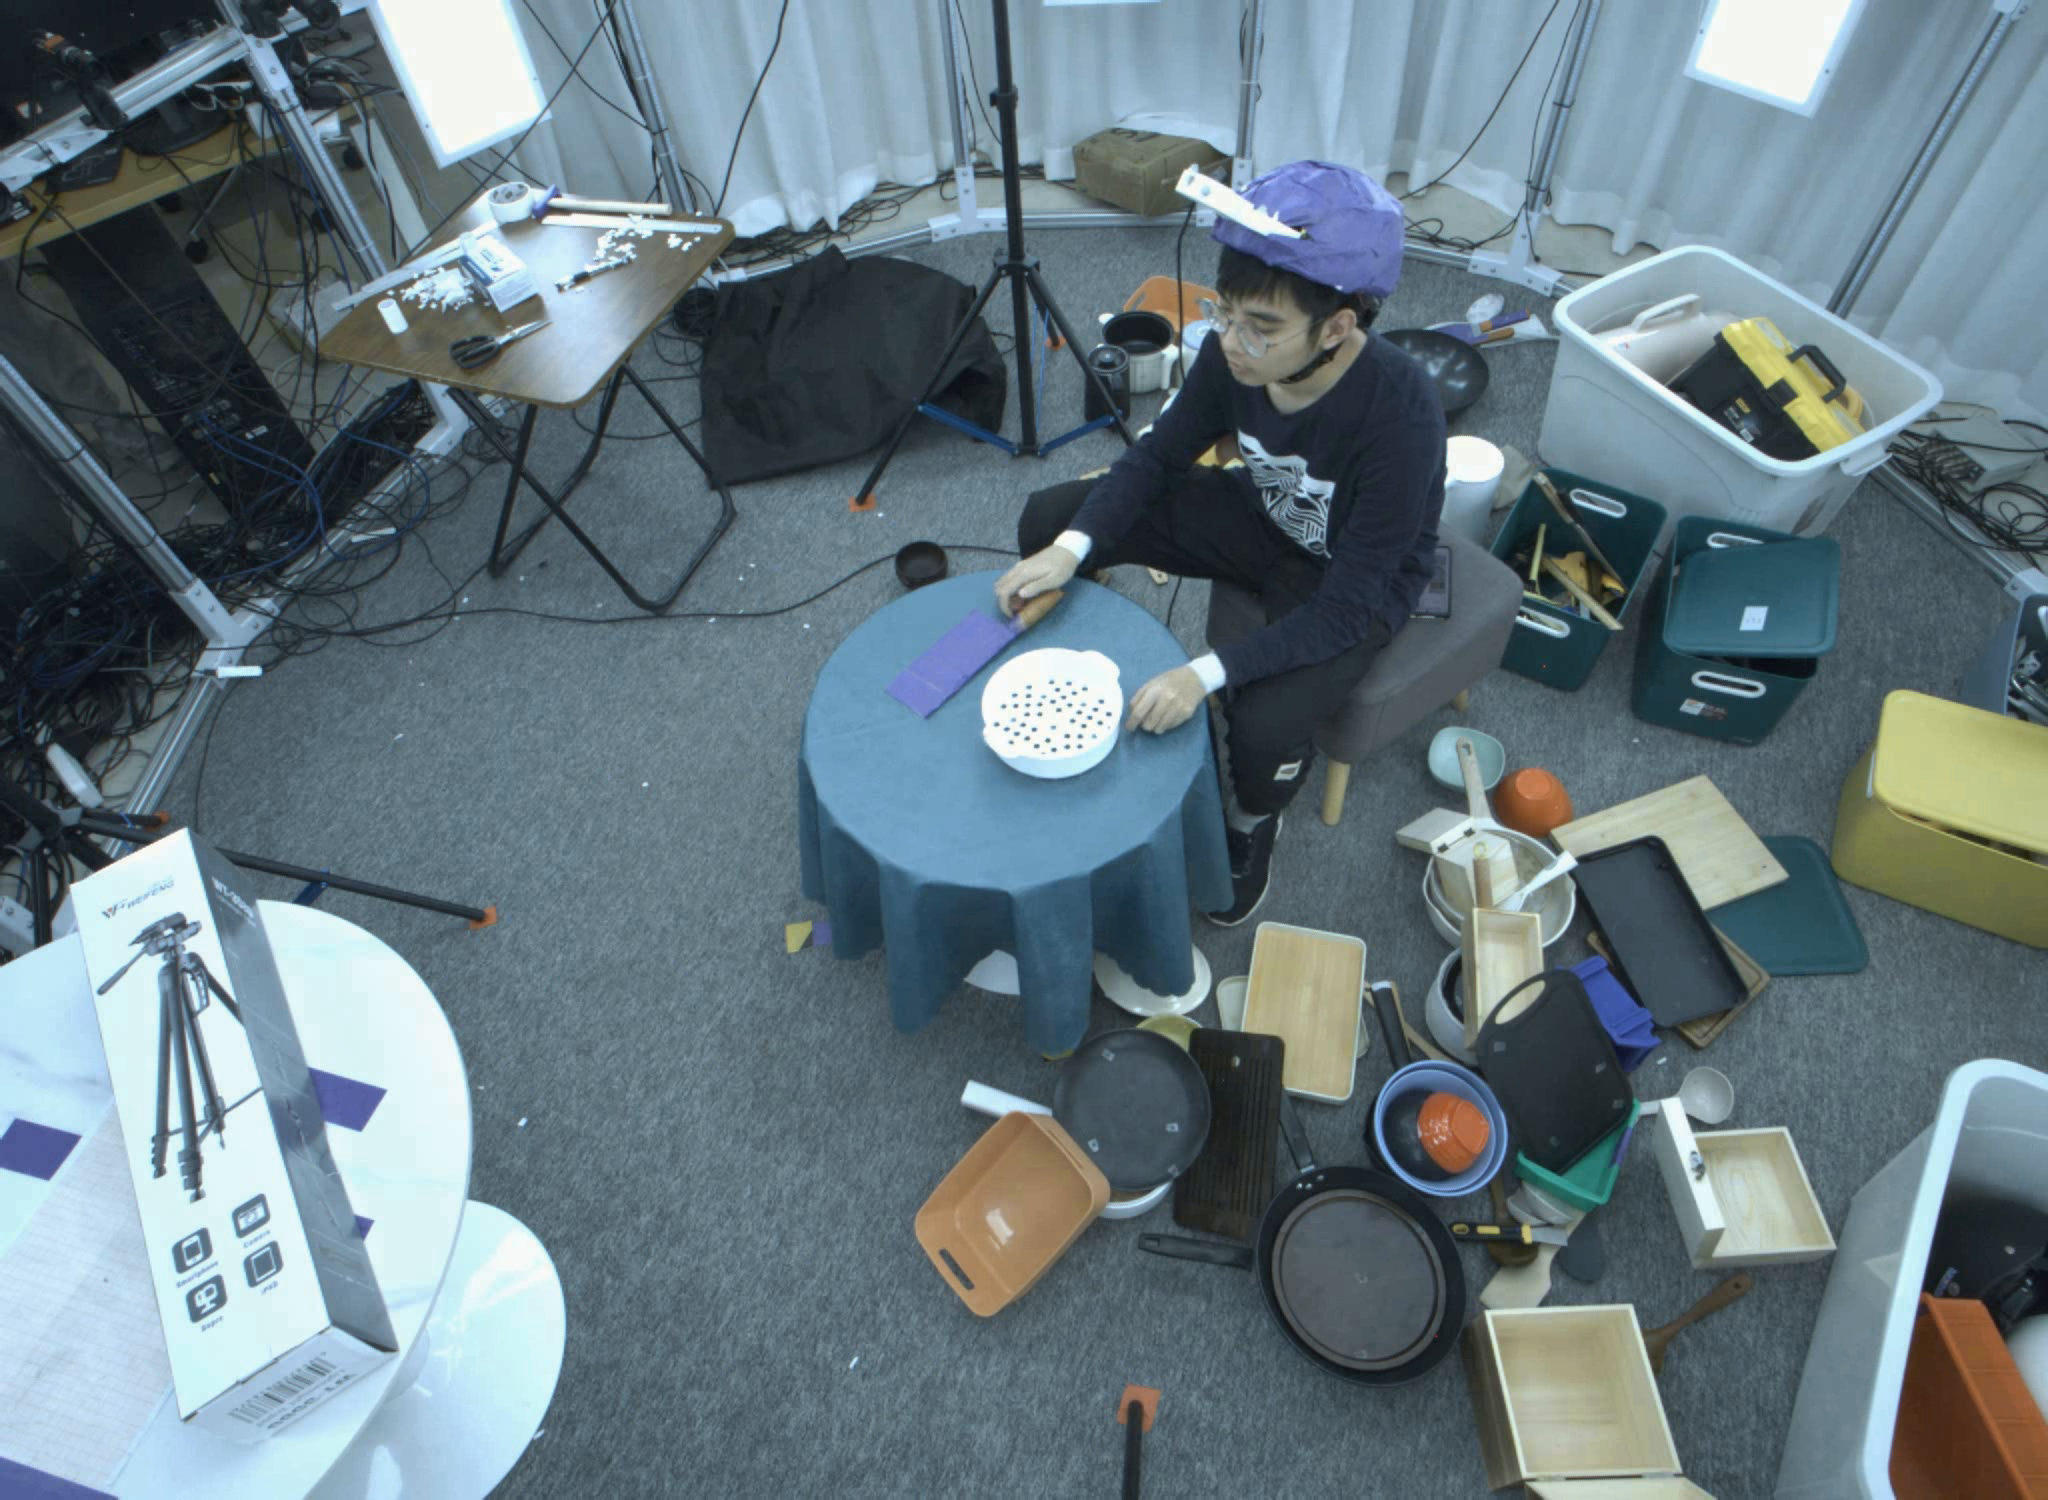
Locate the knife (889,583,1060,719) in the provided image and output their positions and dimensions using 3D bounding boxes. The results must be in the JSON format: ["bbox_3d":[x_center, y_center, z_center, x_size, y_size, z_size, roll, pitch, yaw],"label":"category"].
[{"bbox_3d":[-0.078,-0.171,1.903,0.102,0.032,0.317,35,63,23],"label":"knife"}]

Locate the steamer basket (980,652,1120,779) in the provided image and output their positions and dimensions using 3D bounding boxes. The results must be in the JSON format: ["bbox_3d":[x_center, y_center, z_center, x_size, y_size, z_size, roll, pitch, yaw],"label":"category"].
[{"bbox_3d":[0.038,-0.048,1.789,0.232,0.070,0.198,-37,62,-26],"label":"steamer basket"}]
